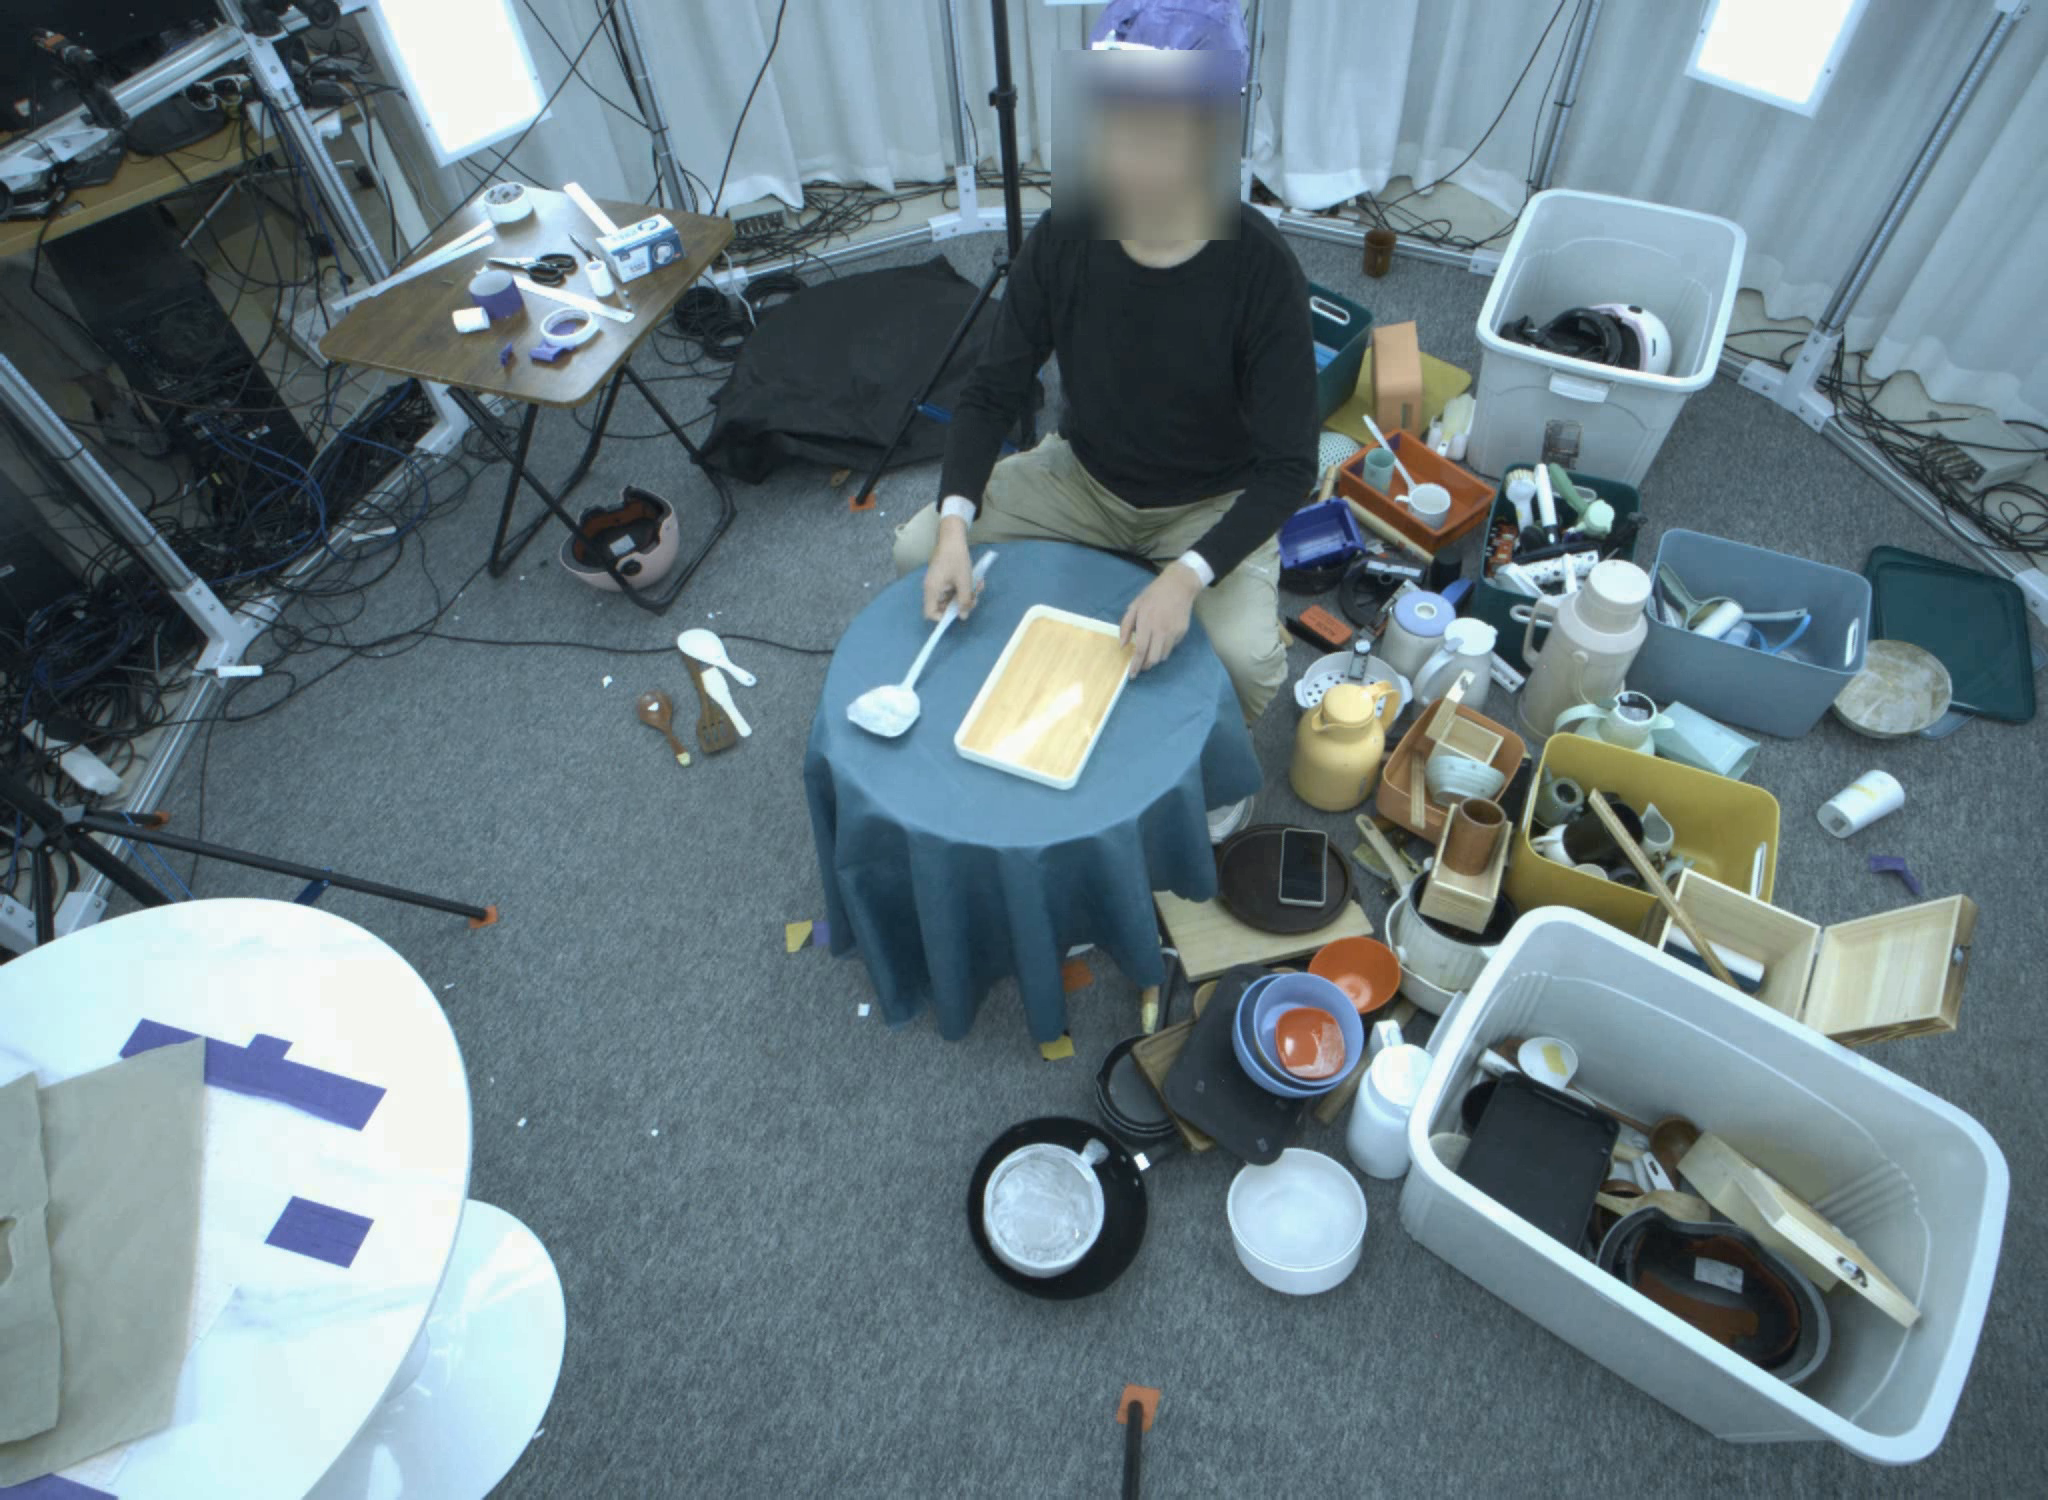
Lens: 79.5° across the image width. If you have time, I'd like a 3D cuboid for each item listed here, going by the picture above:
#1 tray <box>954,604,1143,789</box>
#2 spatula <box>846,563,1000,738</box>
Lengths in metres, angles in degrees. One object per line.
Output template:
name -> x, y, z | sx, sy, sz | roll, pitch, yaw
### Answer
tray -> 0.041, -0.086, 1.830 | 0.189, 0.028, 0.300 | 19, 58, 15
spatula -> -0.139, -0.165, 1.865 | 0.097, 0.045, 0.365 | 25, 69, 15
